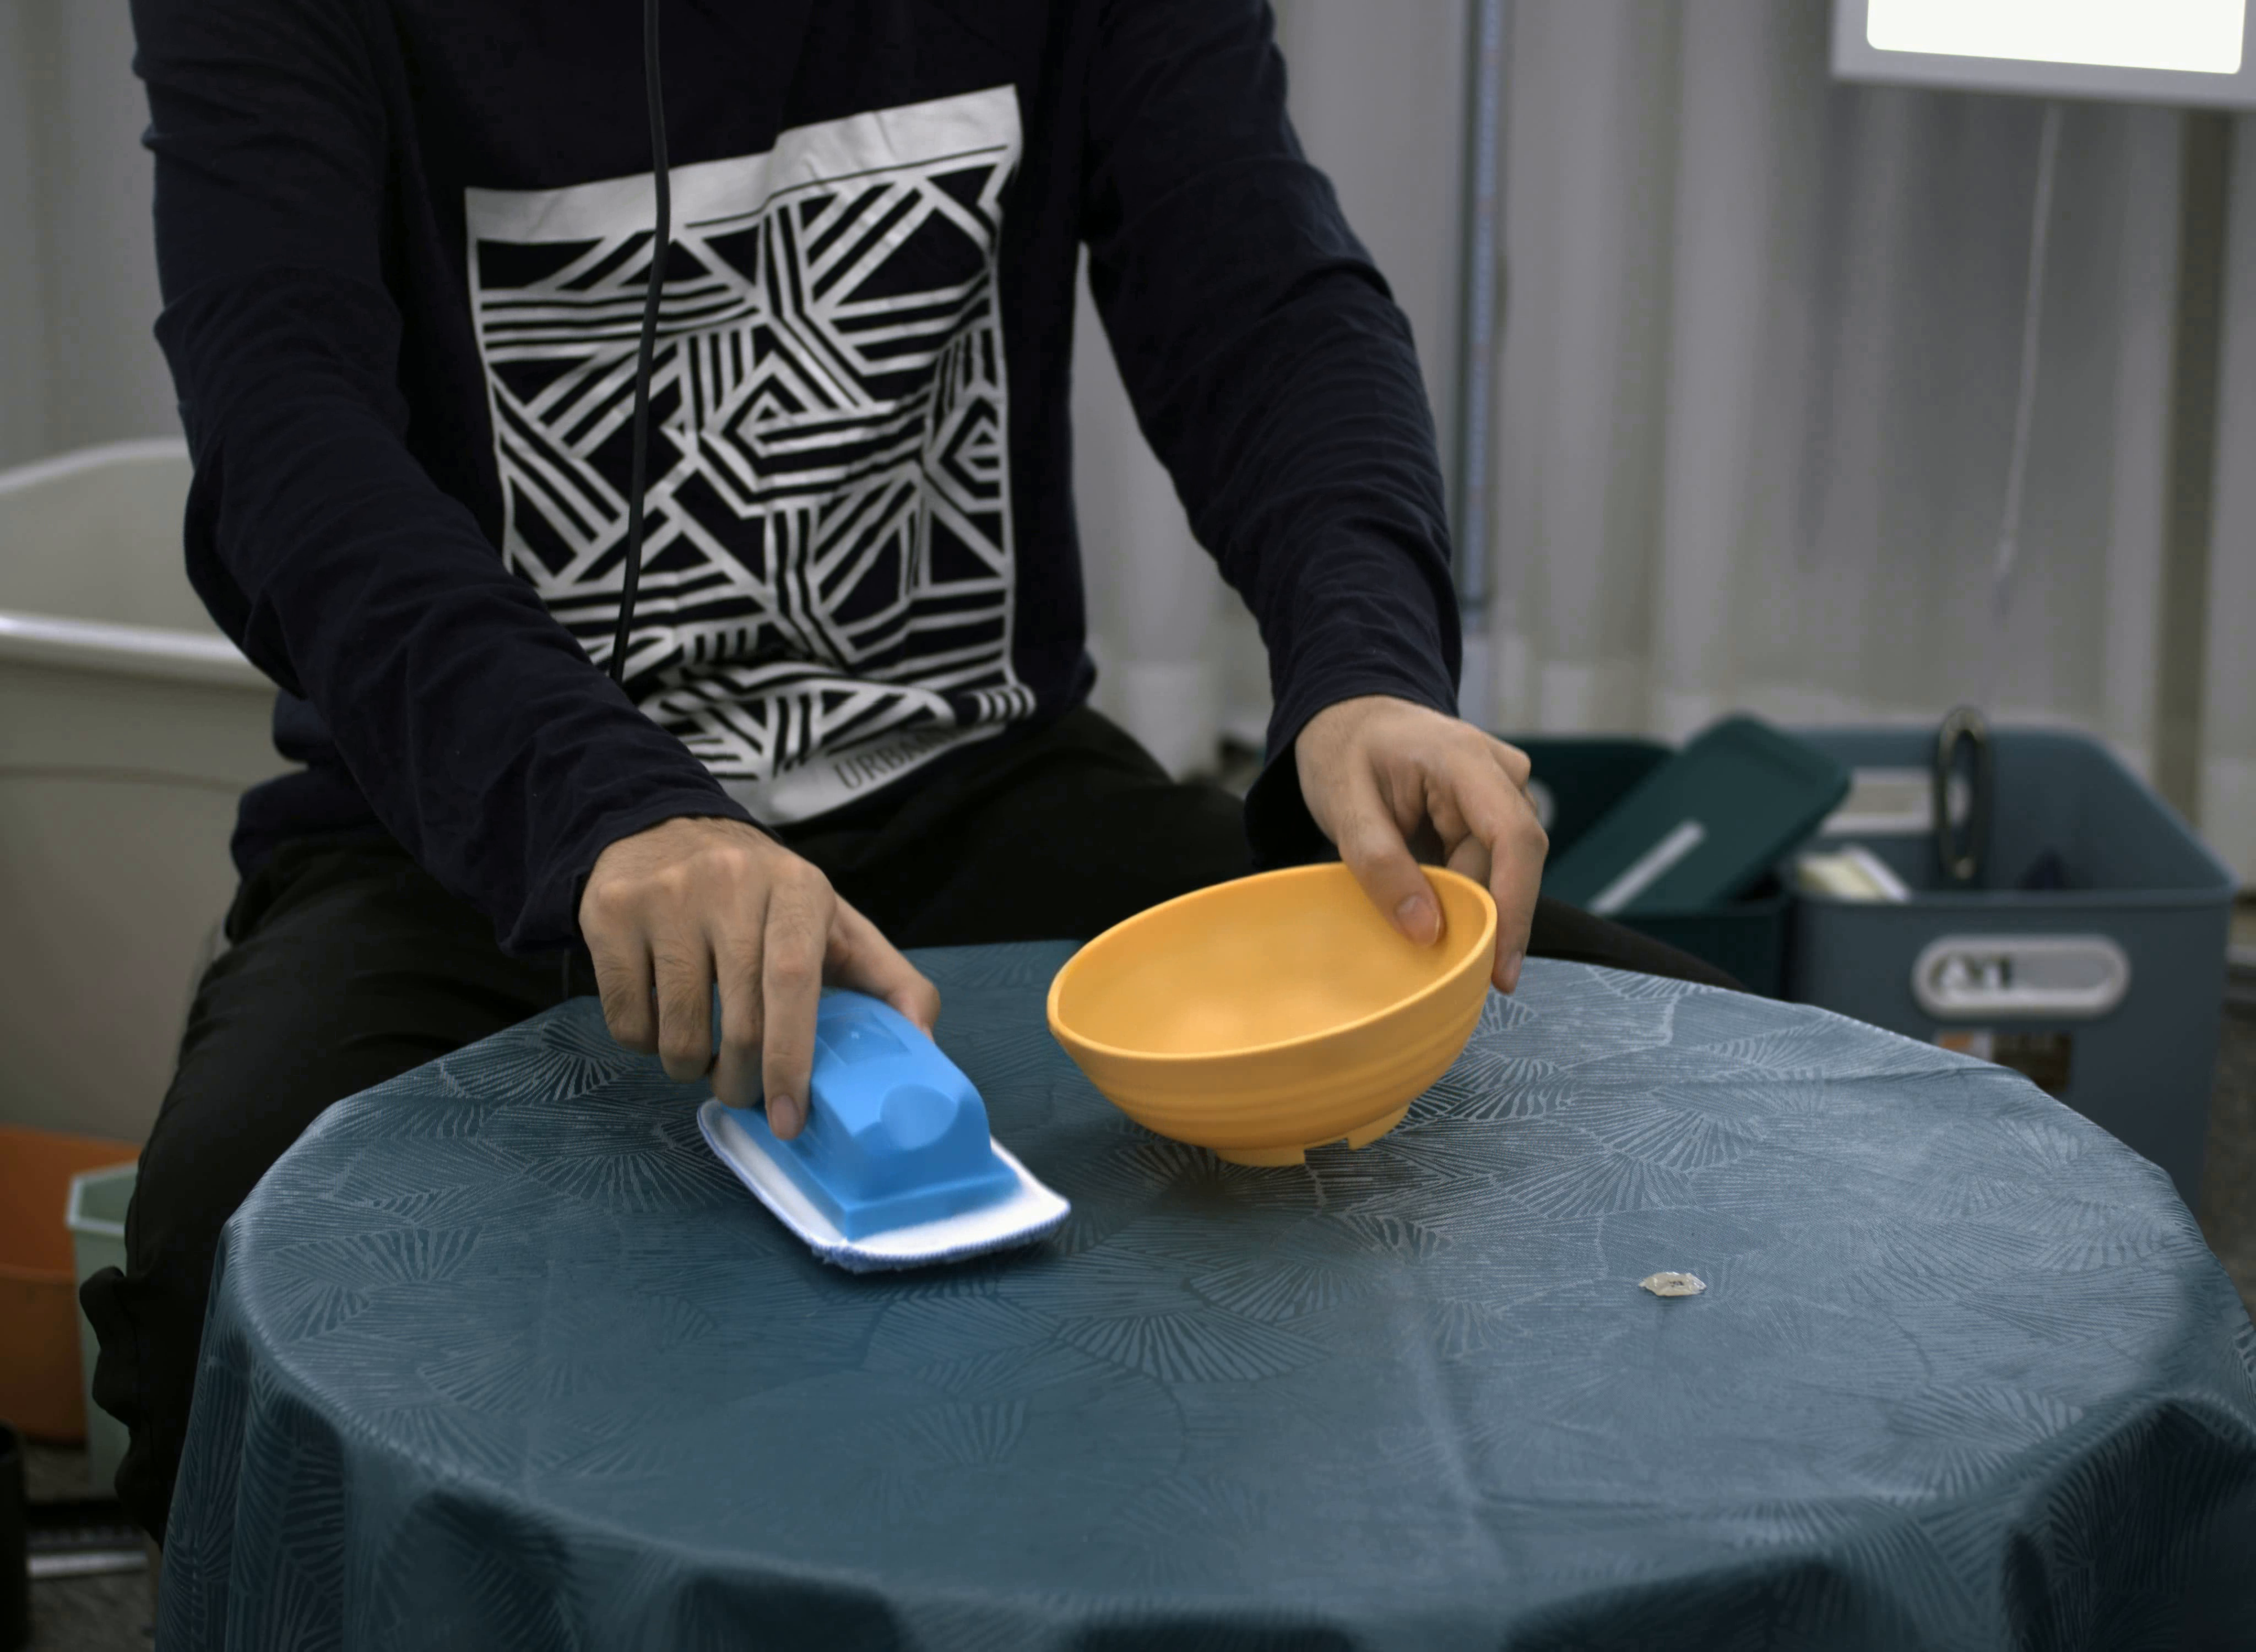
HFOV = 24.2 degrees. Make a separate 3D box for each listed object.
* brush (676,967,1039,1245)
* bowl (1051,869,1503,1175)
[{"bbox_3d":[-0.082,0.082,1.602,0.084,0.056,0.142,-4,21,-21],"label":"brush"},{"bbox_3d":[0.051,0.069,1.656,0.145,0.061,0.144,-8,21,4],"label":"bowl"}]
